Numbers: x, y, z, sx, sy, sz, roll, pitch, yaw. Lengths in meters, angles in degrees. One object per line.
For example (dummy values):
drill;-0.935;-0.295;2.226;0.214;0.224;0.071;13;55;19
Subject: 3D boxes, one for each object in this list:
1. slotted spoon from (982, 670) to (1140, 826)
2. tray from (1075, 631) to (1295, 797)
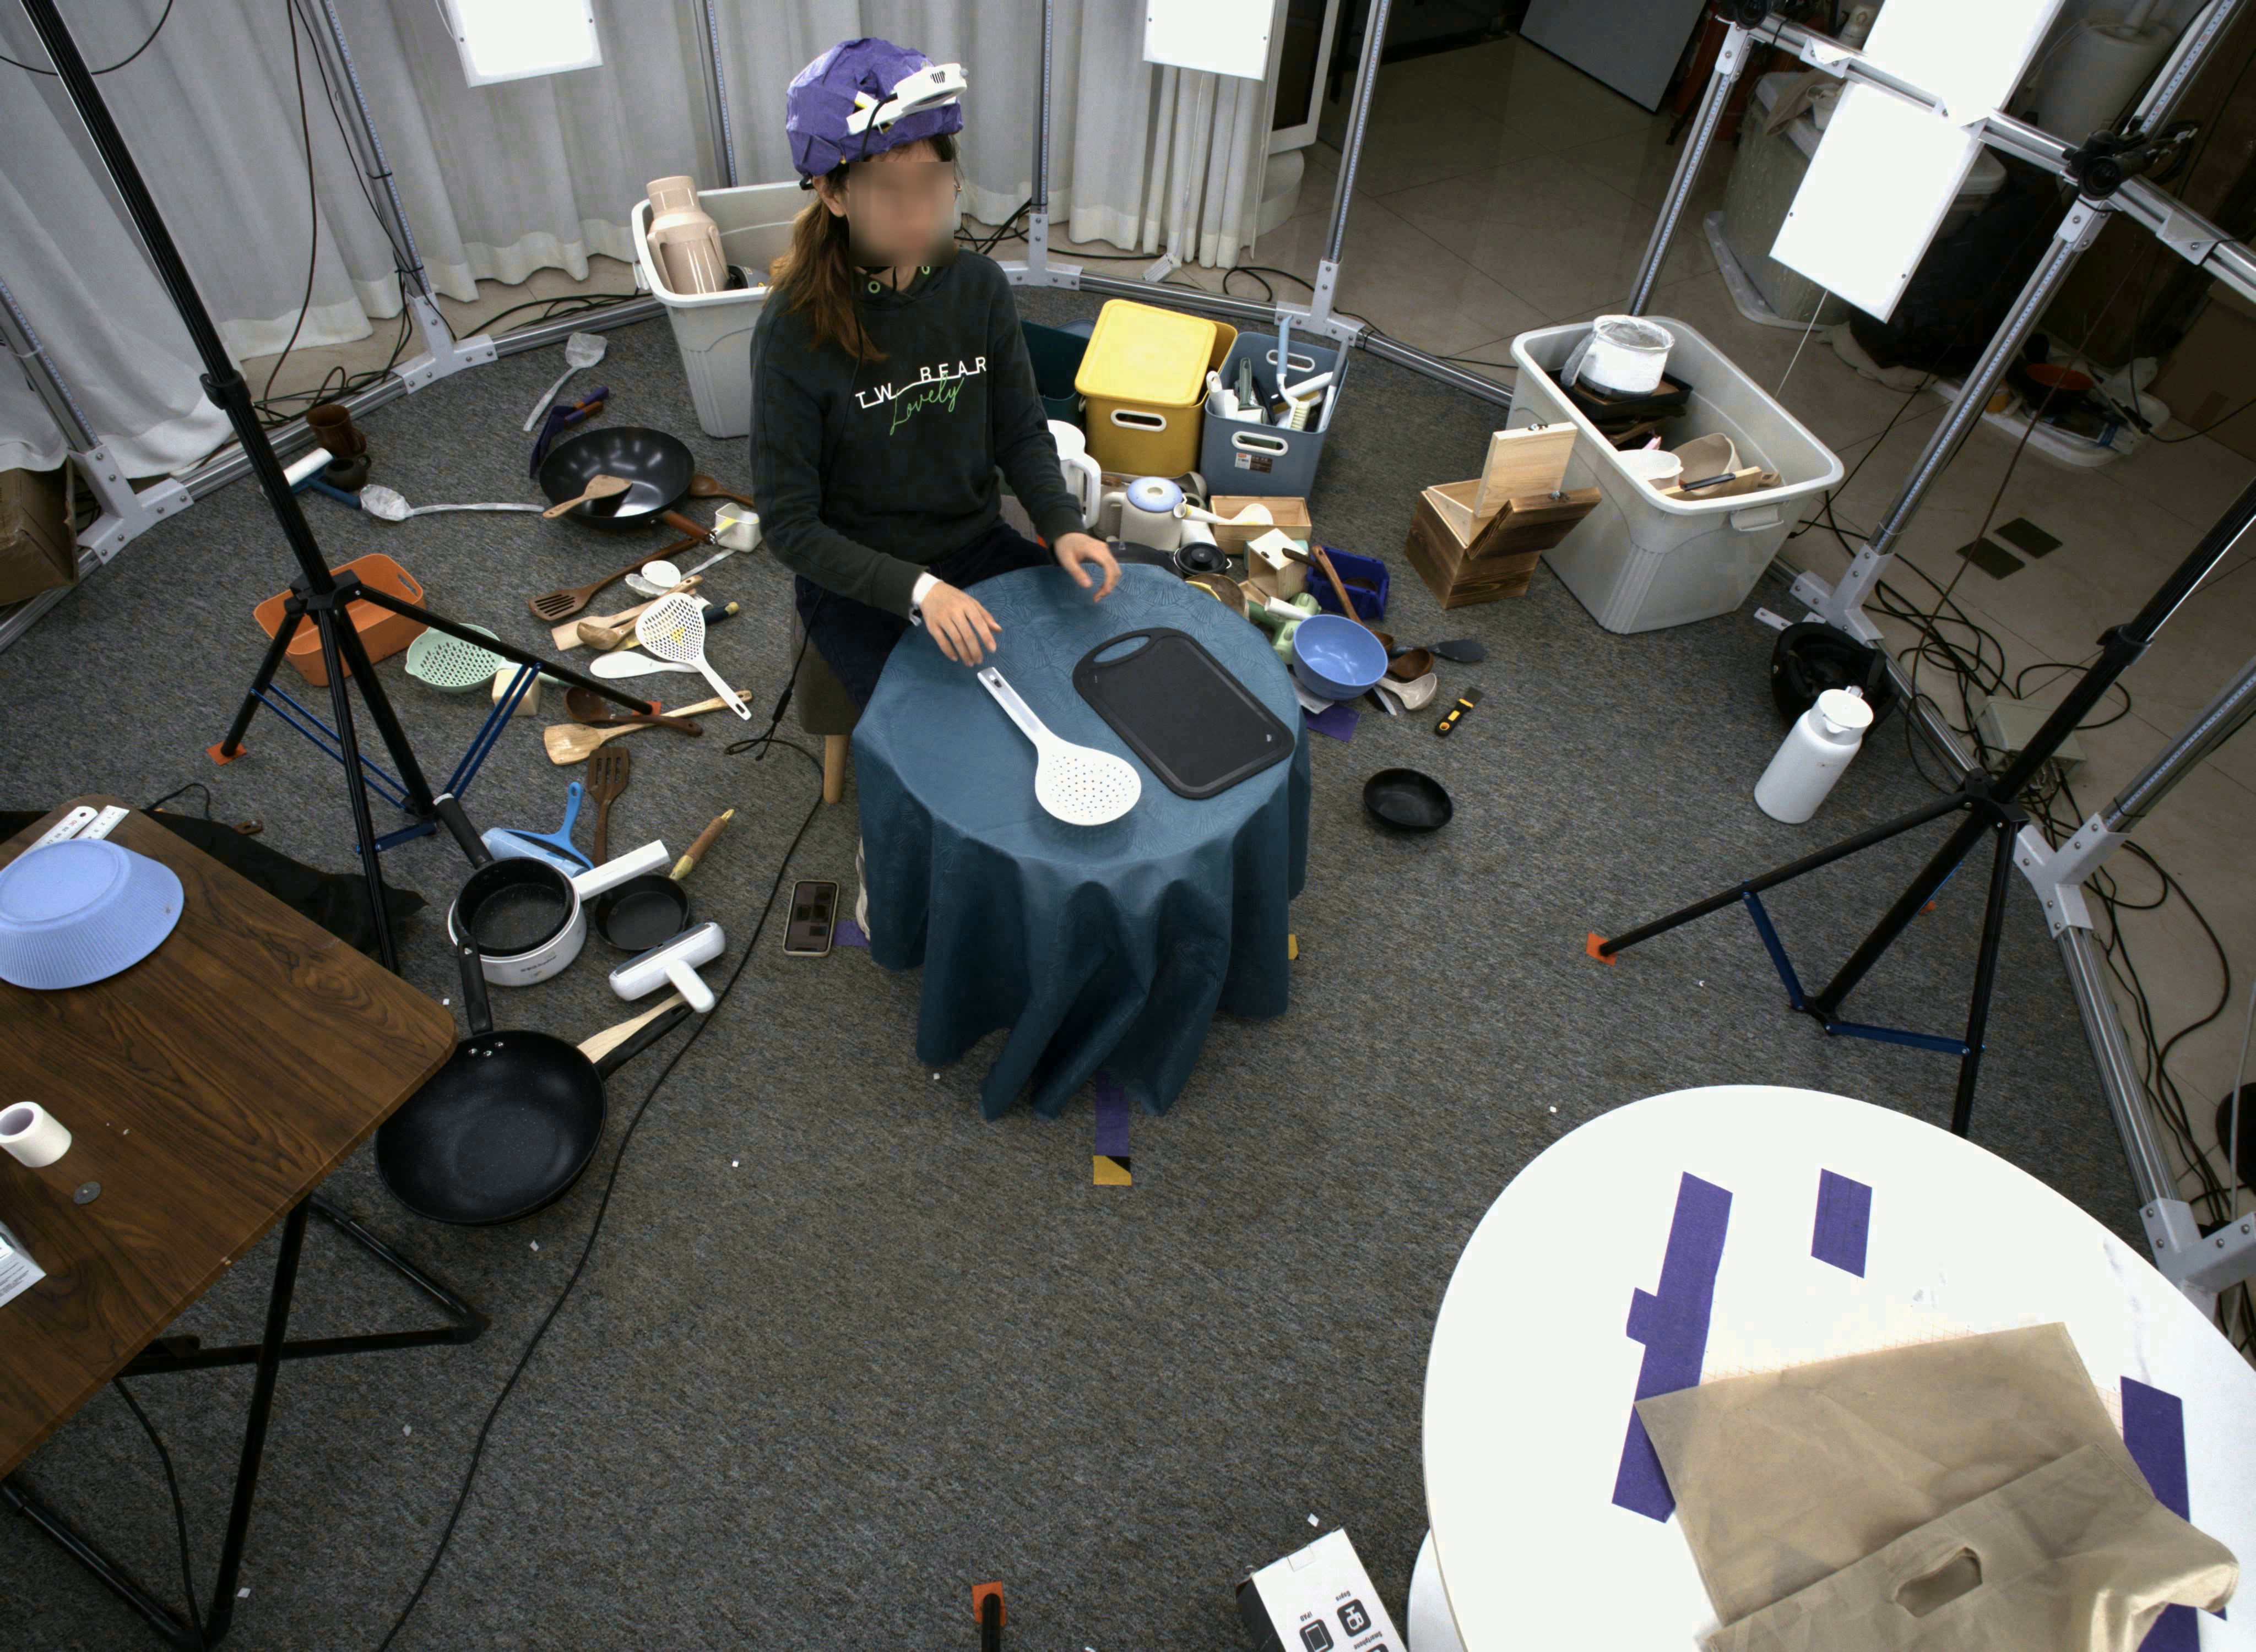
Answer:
slotted spoon;-0.109;-0.112;1.744;0.136;0.044;0.357;-22;53;-23
tray;0.073;-0.172;1.834;0.212;0.009;0.332;-26;55;-24
